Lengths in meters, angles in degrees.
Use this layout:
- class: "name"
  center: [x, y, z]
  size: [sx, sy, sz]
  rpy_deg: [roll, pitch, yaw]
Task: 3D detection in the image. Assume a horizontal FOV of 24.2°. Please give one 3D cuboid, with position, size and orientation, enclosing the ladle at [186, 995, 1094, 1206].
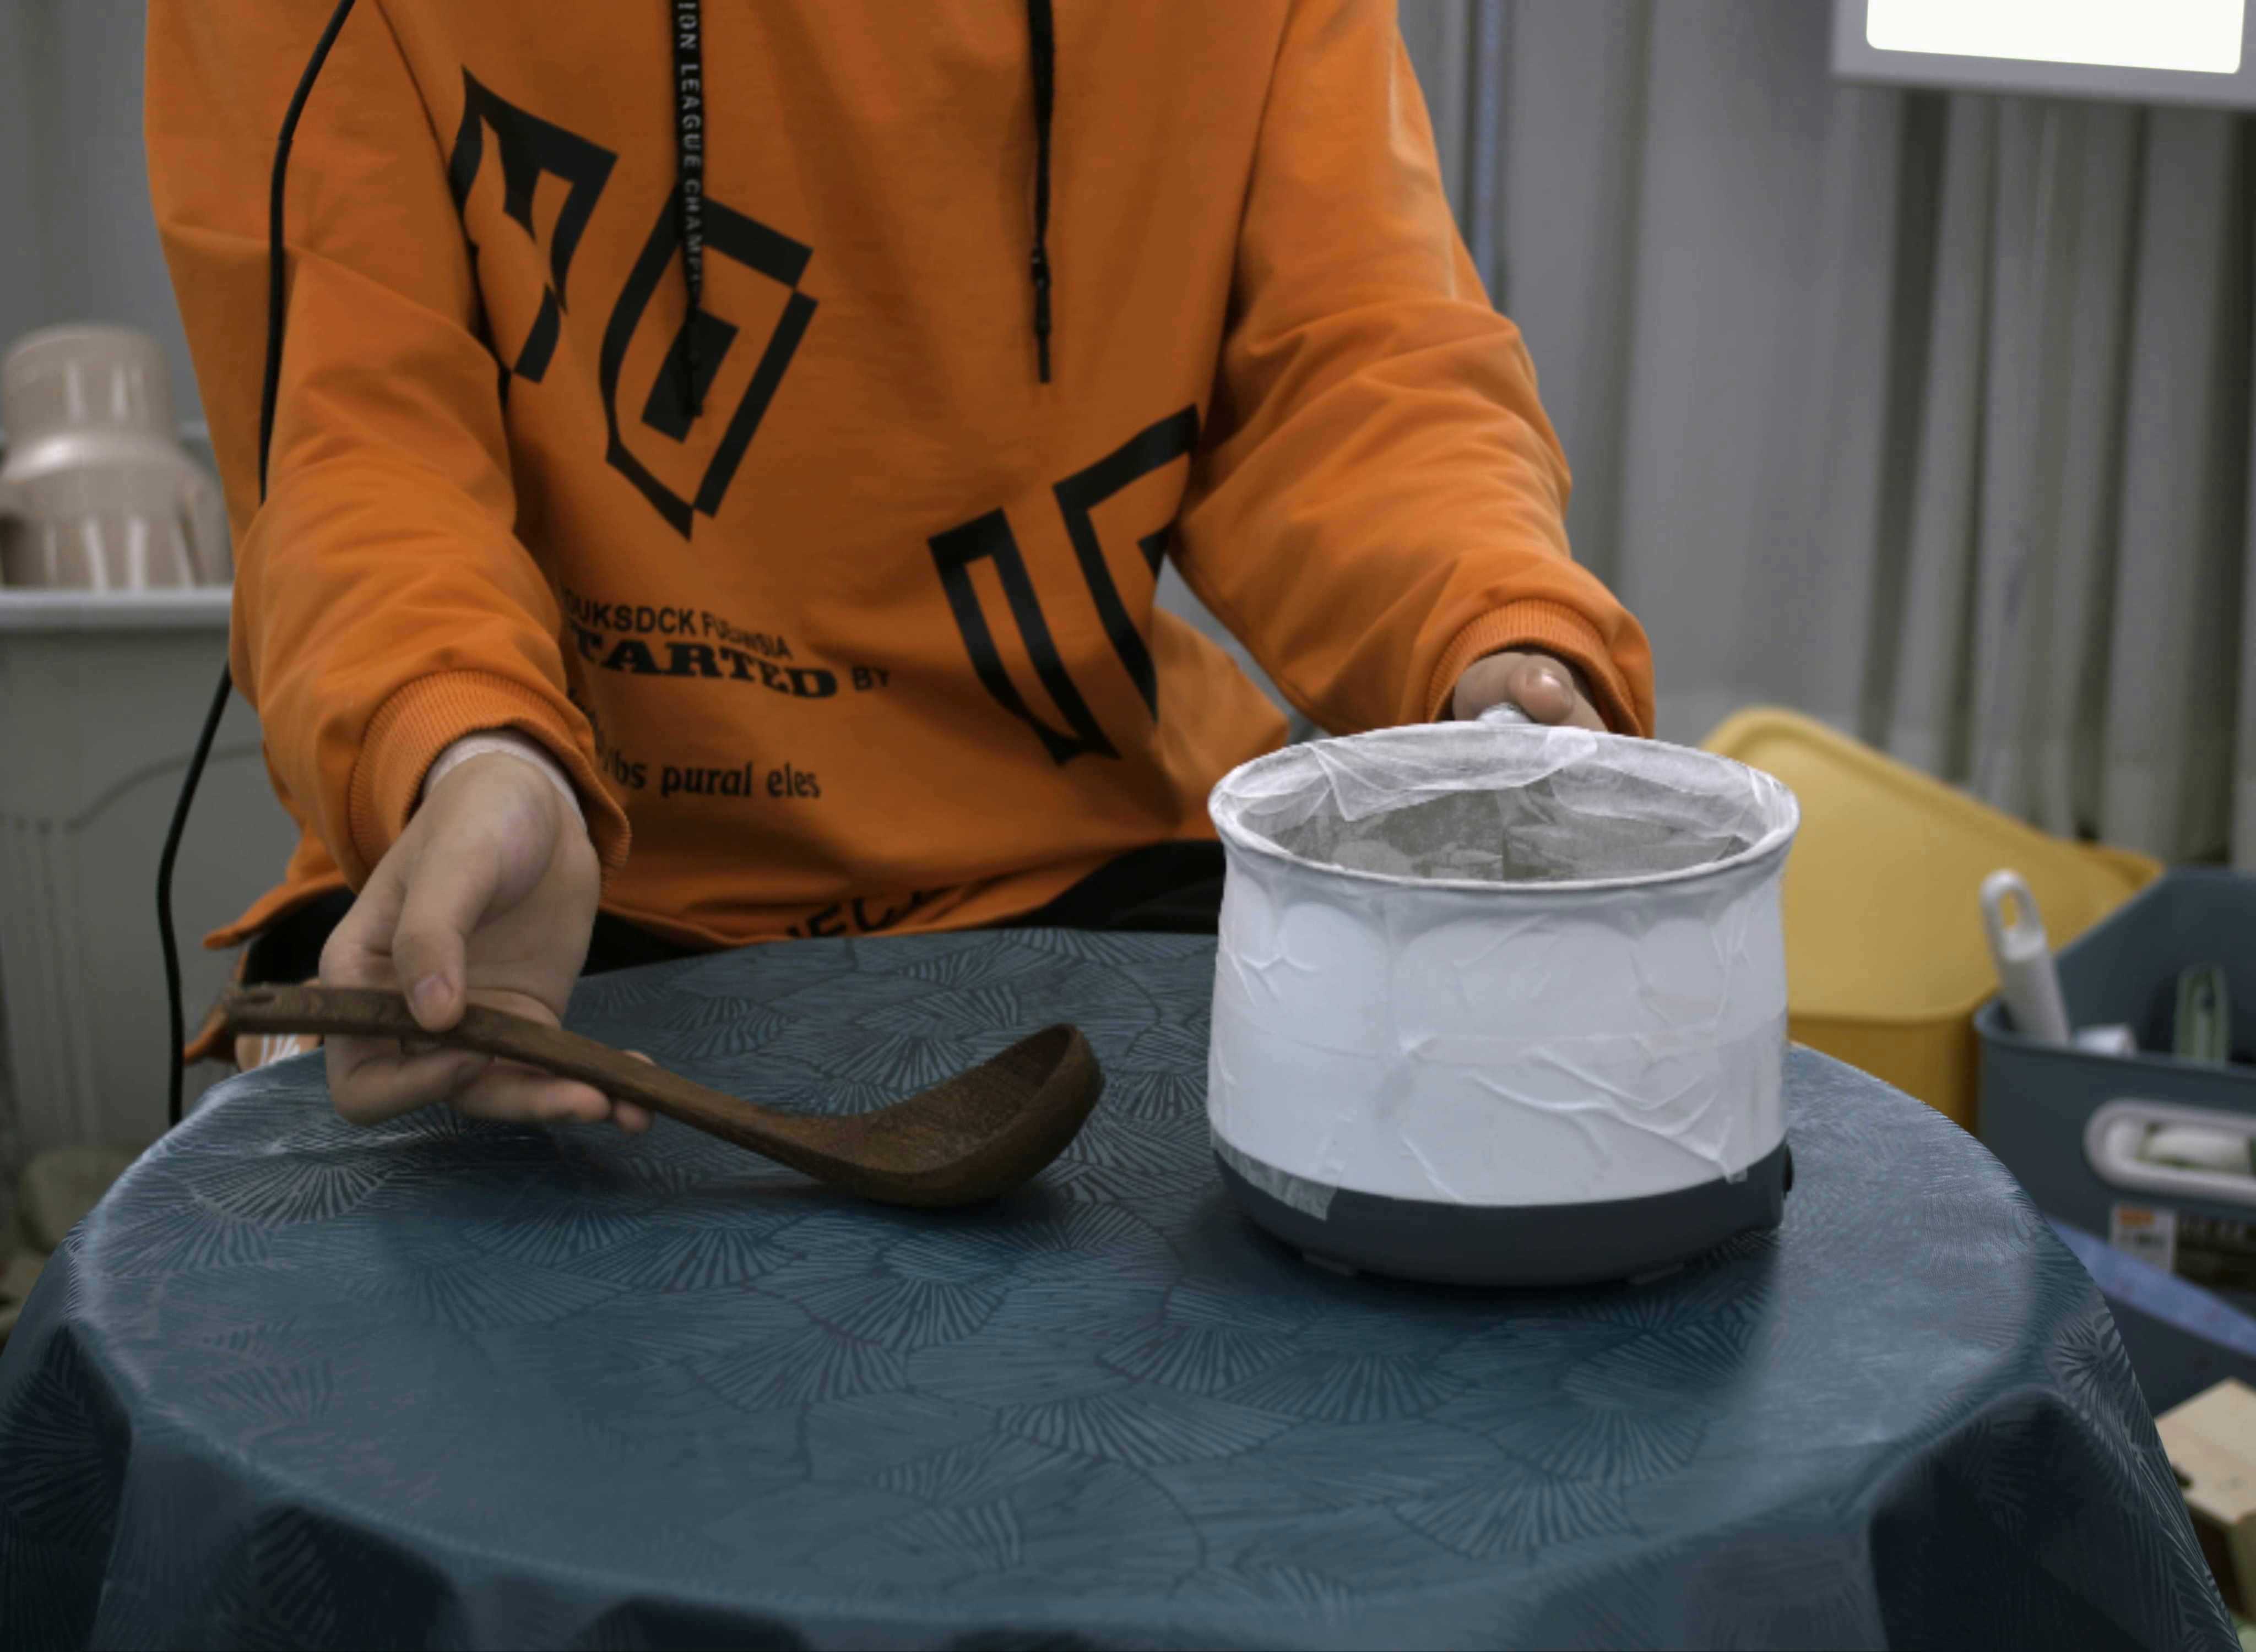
- class: "ladle"
  center: [-0.147, 0.062, 1.604]
  size: [0.273, 0.072, 0.075]
  rpy_deg: [14, 18, -2]

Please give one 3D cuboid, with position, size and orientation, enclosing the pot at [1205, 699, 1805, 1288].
- class: "pot"
  center: [0.113, 0.045, 1.608]
  size: [0.178, 0.138, 0.232]
  rpy_deg: [2, 16, 2]
